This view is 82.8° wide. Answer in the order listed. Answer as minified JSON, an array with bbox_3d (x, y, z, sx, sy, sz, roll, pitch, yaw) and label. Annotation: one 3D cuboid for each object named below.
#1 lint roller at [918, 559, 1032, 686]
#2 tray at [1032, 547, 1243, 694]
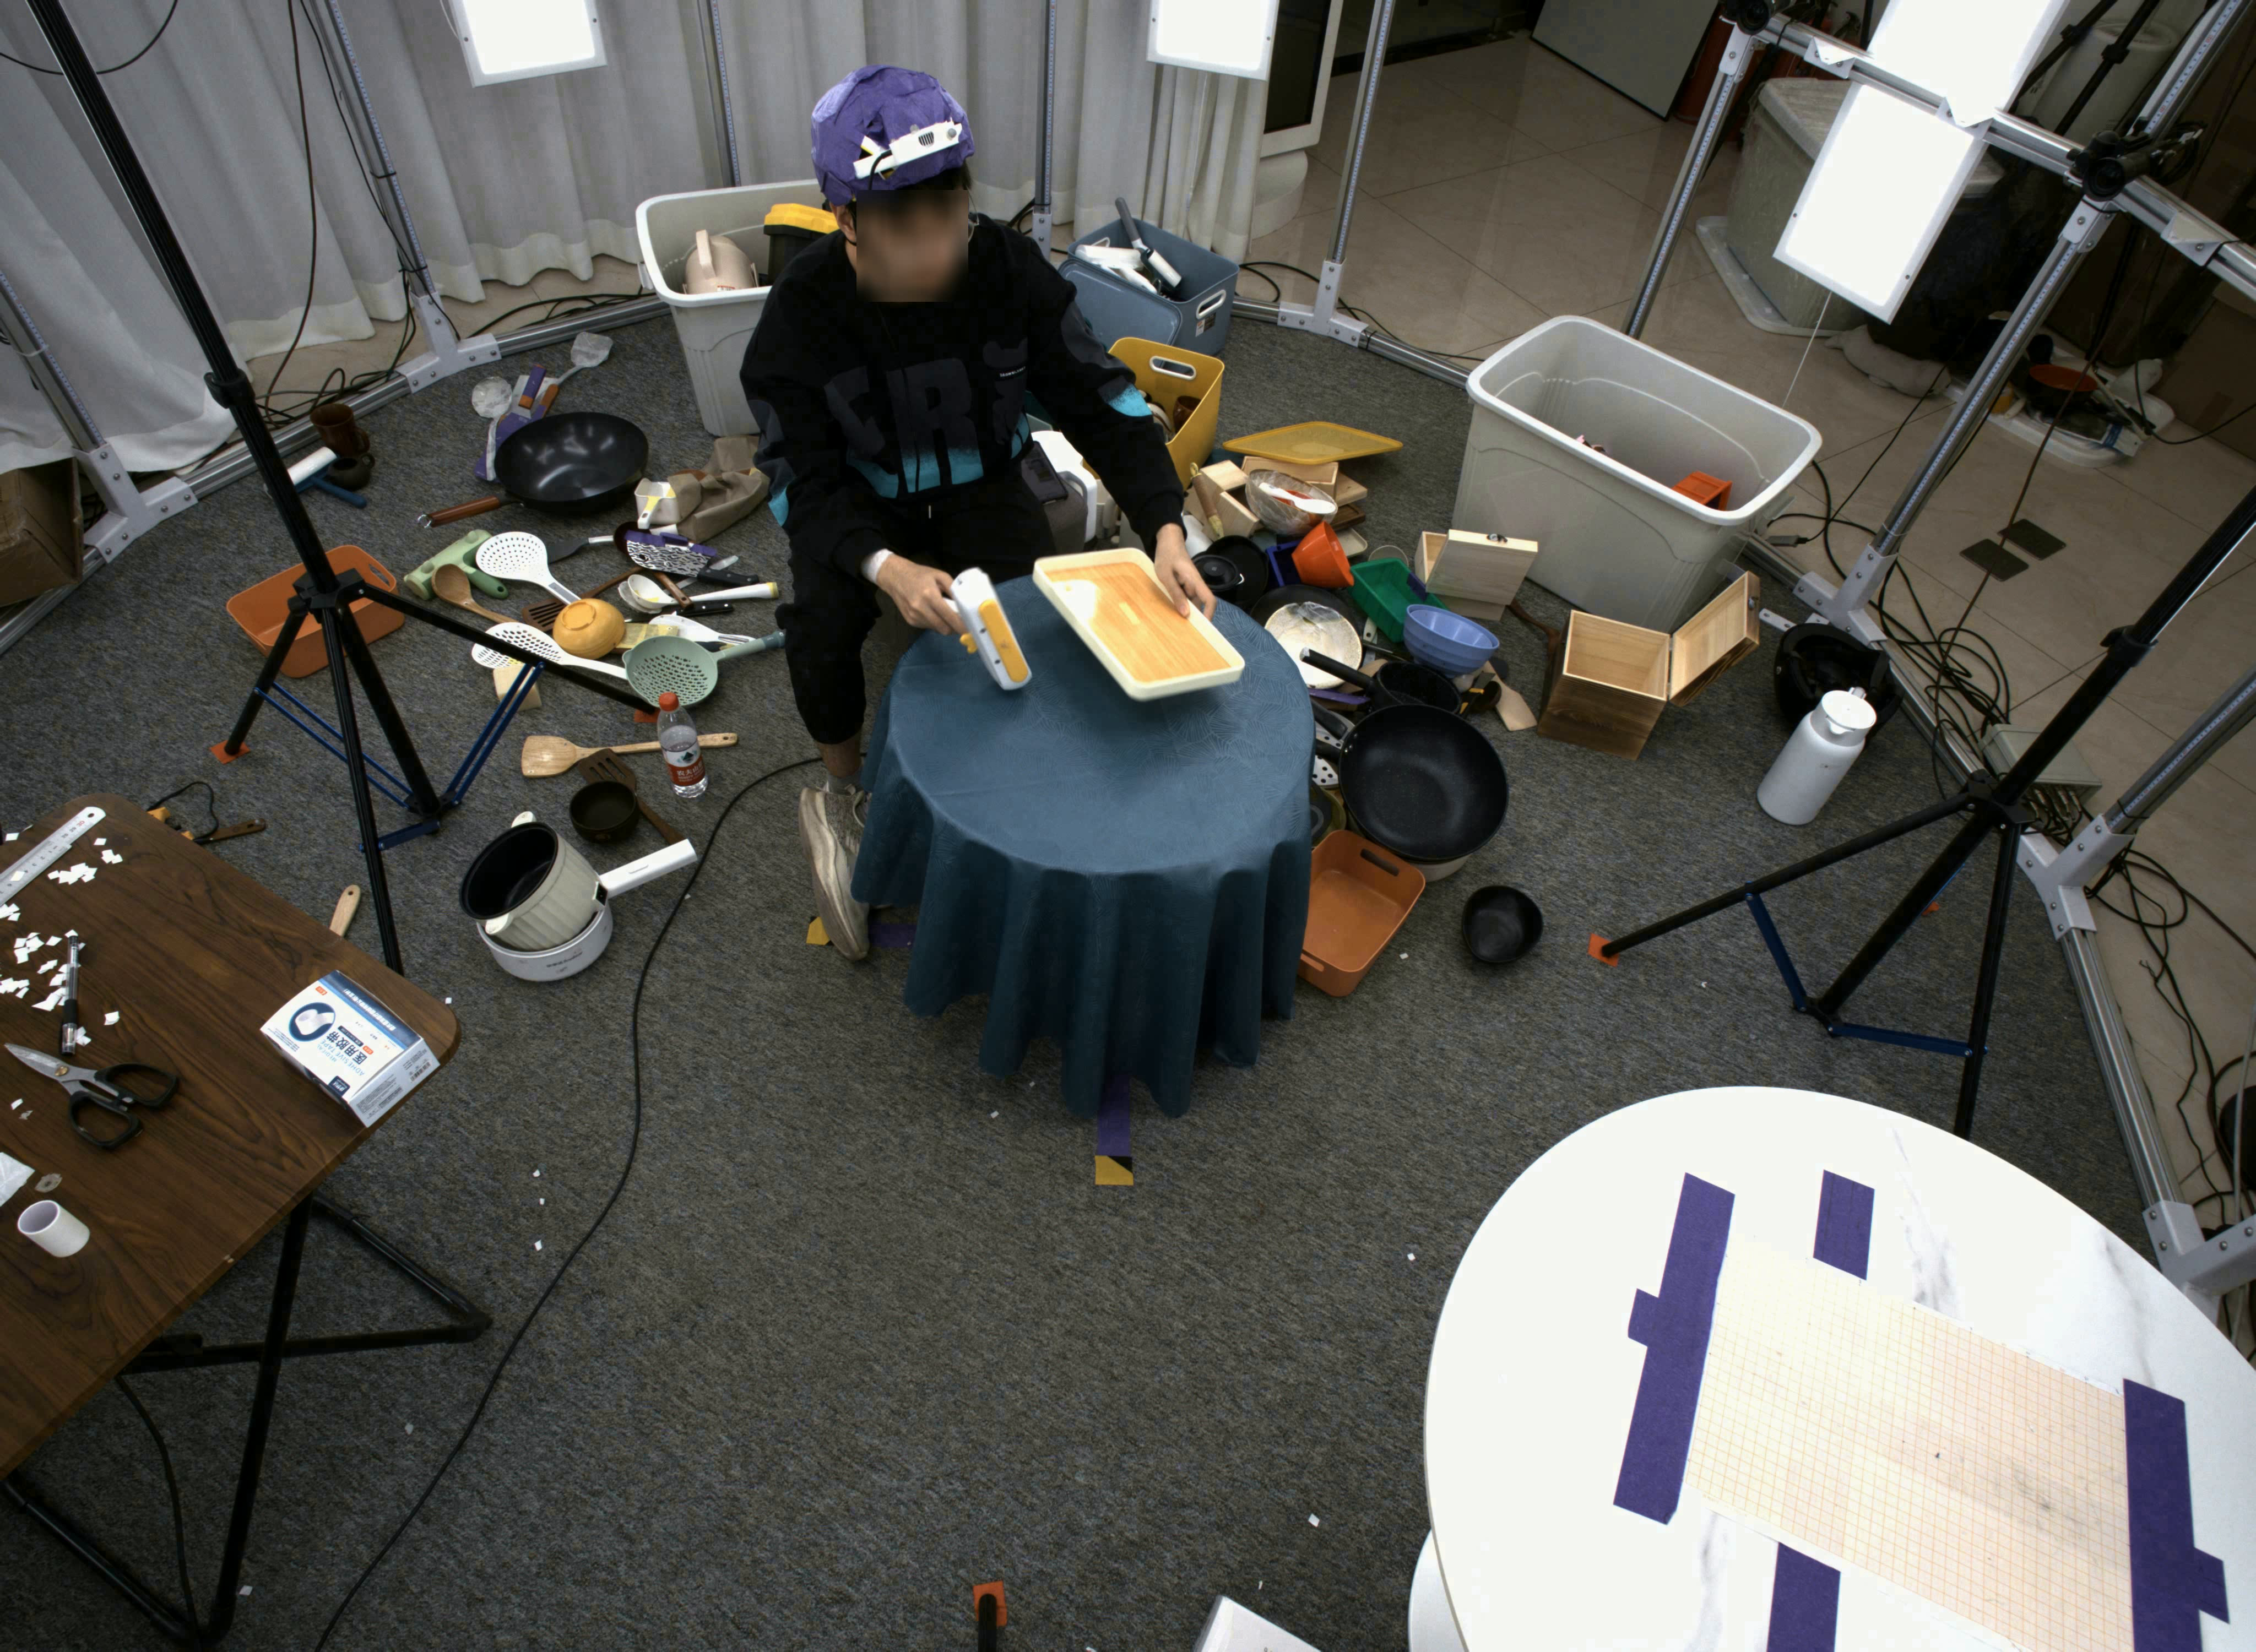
[{"bbox_3d":[-0.223,-0.294,1.791,0.074,0.188,0.196,-40,43,-13],"label":"lint roller"},{"bbox_3d":[0.010,-0.297,1.815,0.191,0.027,0.307,-12,48,-31],"label":"tray"}]
